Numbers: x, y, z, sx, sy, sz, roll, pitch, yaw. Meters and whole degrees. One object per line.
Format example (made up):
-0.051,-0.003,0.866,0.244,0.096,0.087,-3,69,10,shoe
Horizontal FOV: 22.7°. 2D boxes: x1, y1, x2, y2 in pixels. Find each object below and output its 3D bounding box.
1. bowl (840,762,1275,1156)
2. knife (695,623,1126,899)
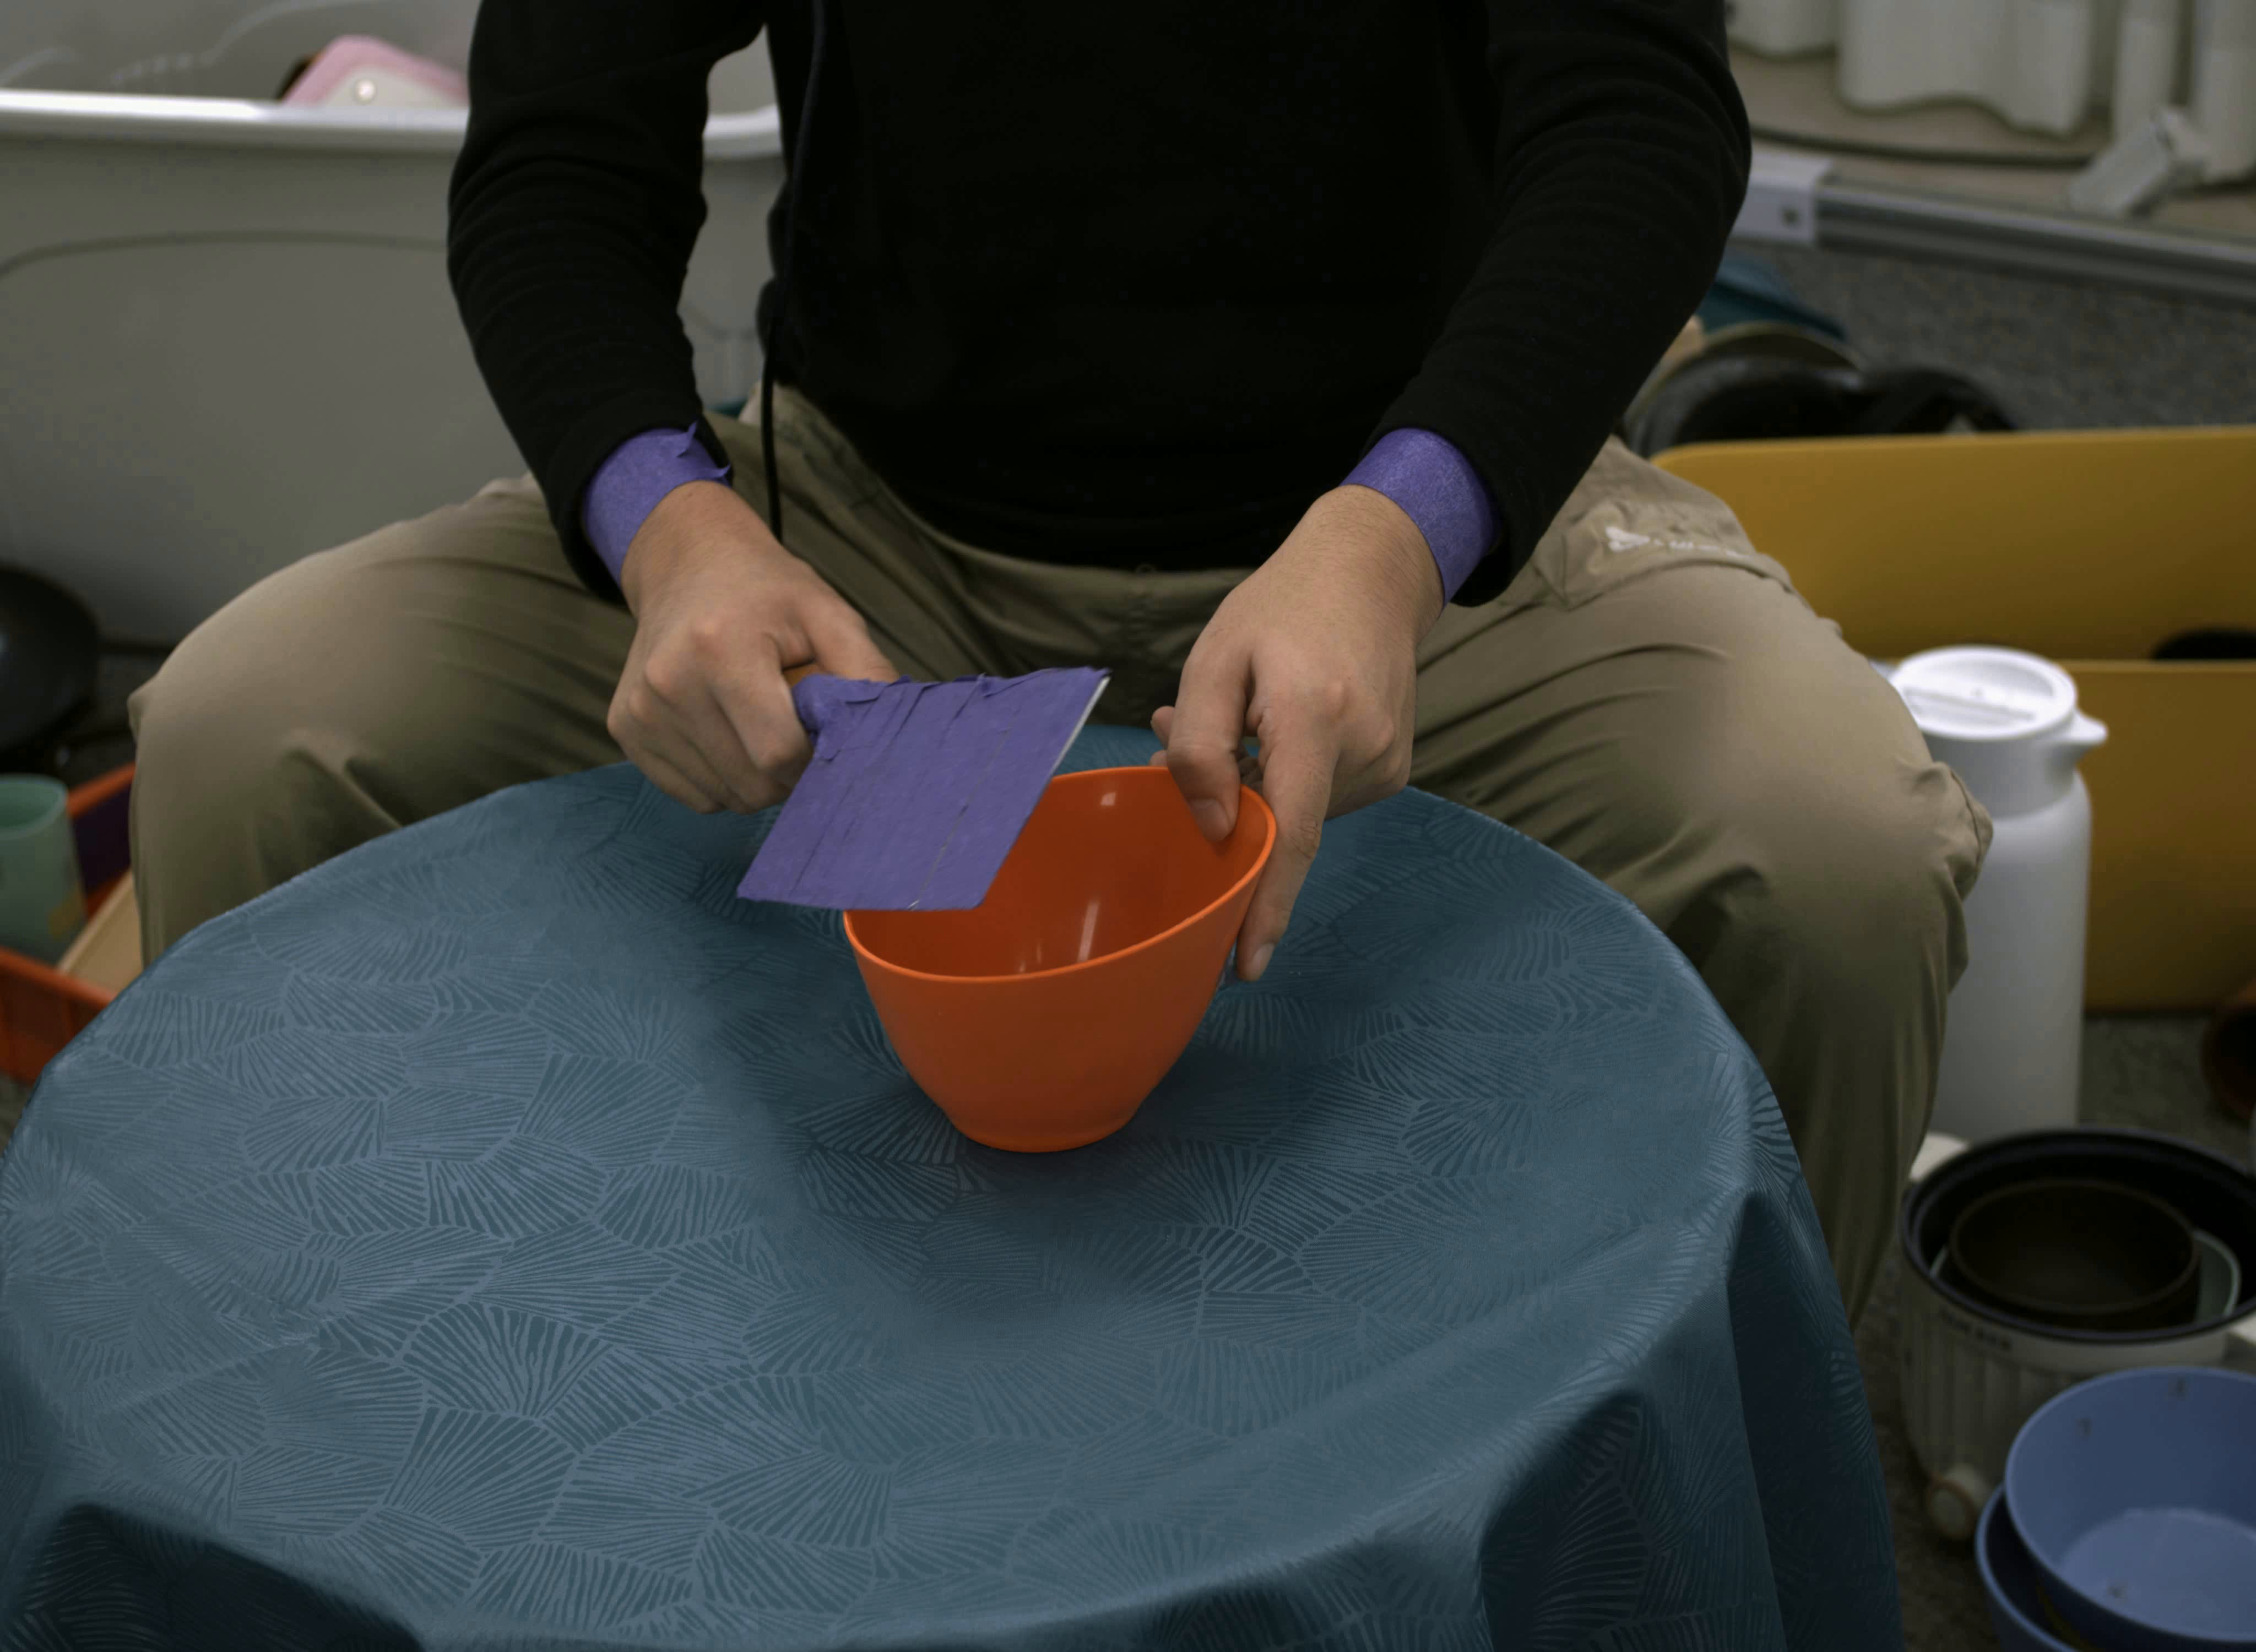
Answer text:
-0.022,0.051,1.887,0.147,0.103,0.150,-2,29,2,bowl
-0.094,-0.018,1.931,0.105,0.032,0.312,-59,20,-16,knife
